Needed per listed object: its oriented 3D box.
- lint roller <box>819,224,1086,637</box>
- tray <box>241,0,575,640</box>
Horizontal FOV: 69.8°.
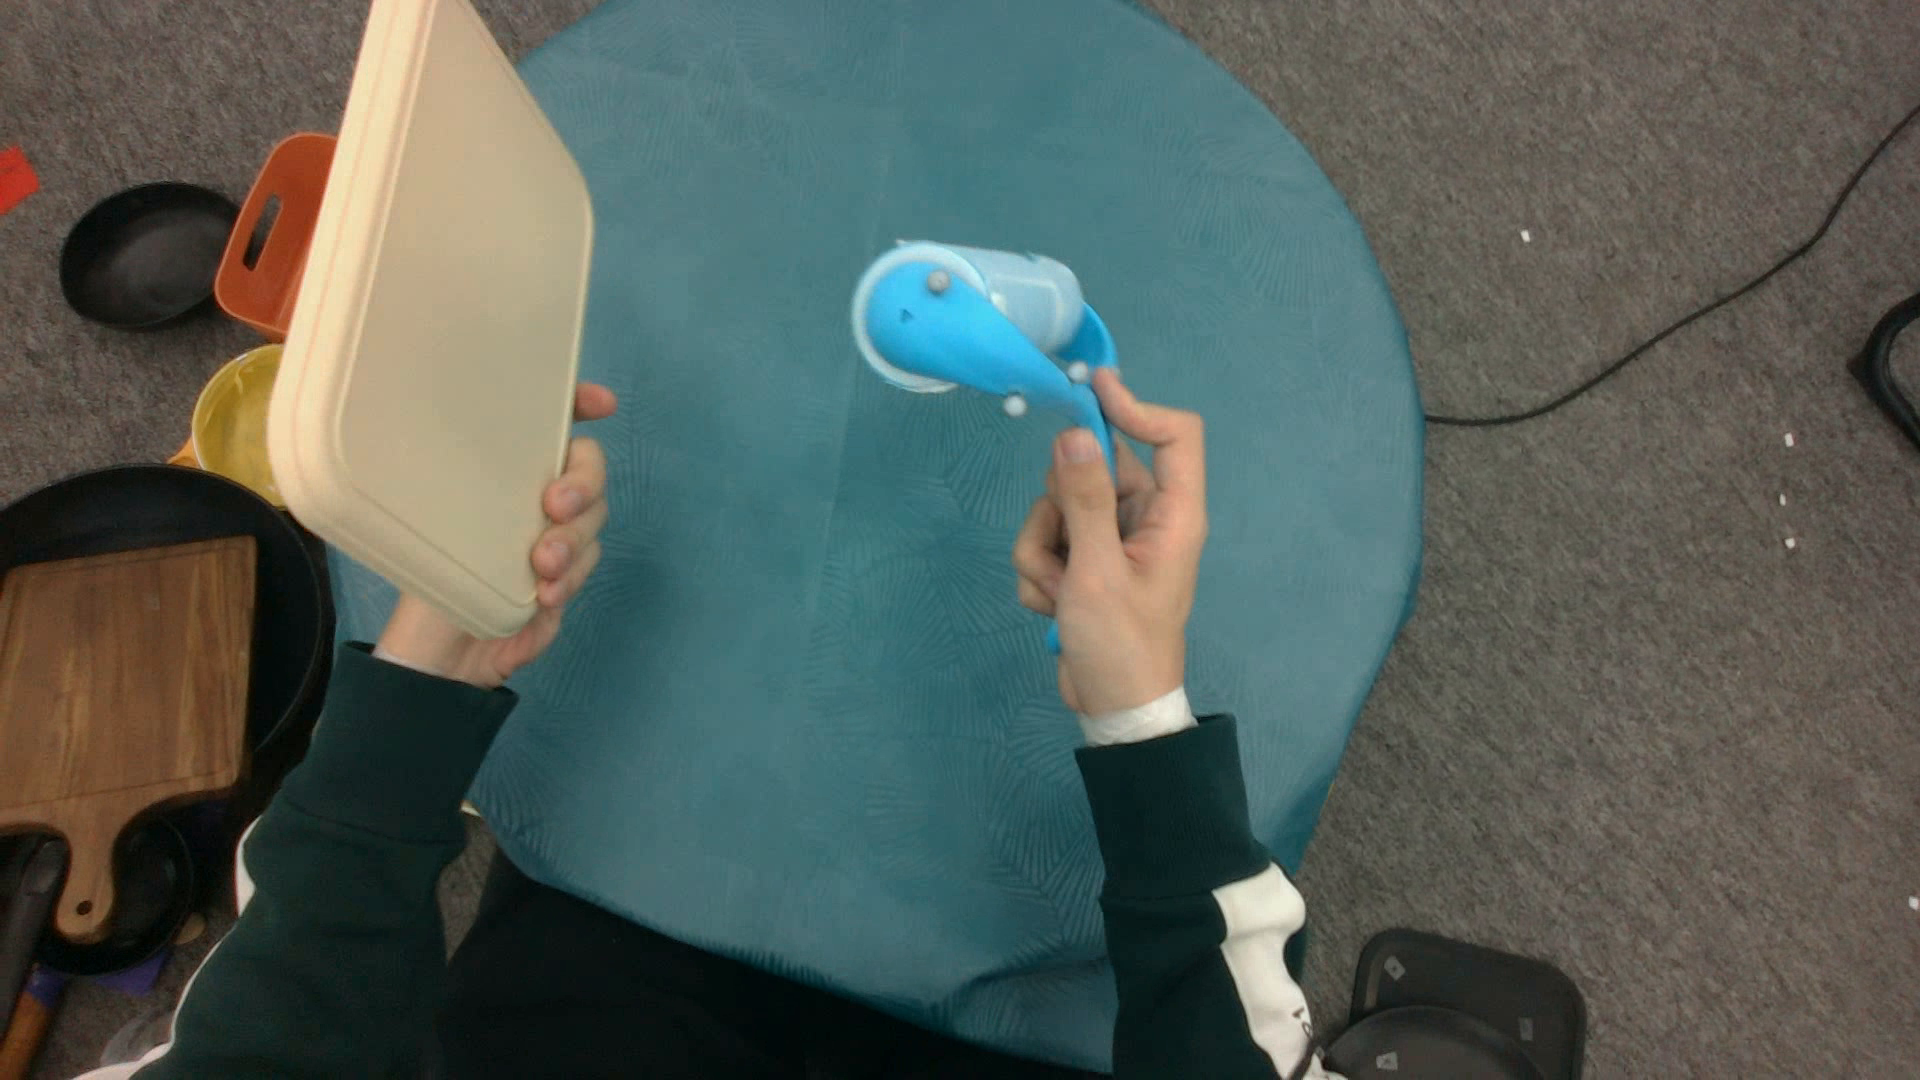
[{"bbox_3d":[0.022,-0.051,0.584,0.068,0.229,0.180,-23,98,15],"label":"lint roller"},{"bbox_3d":[-0.203,-0.092,0.547,0.017,0.171,0.240,-5,66,10],"label":"tray"}]
